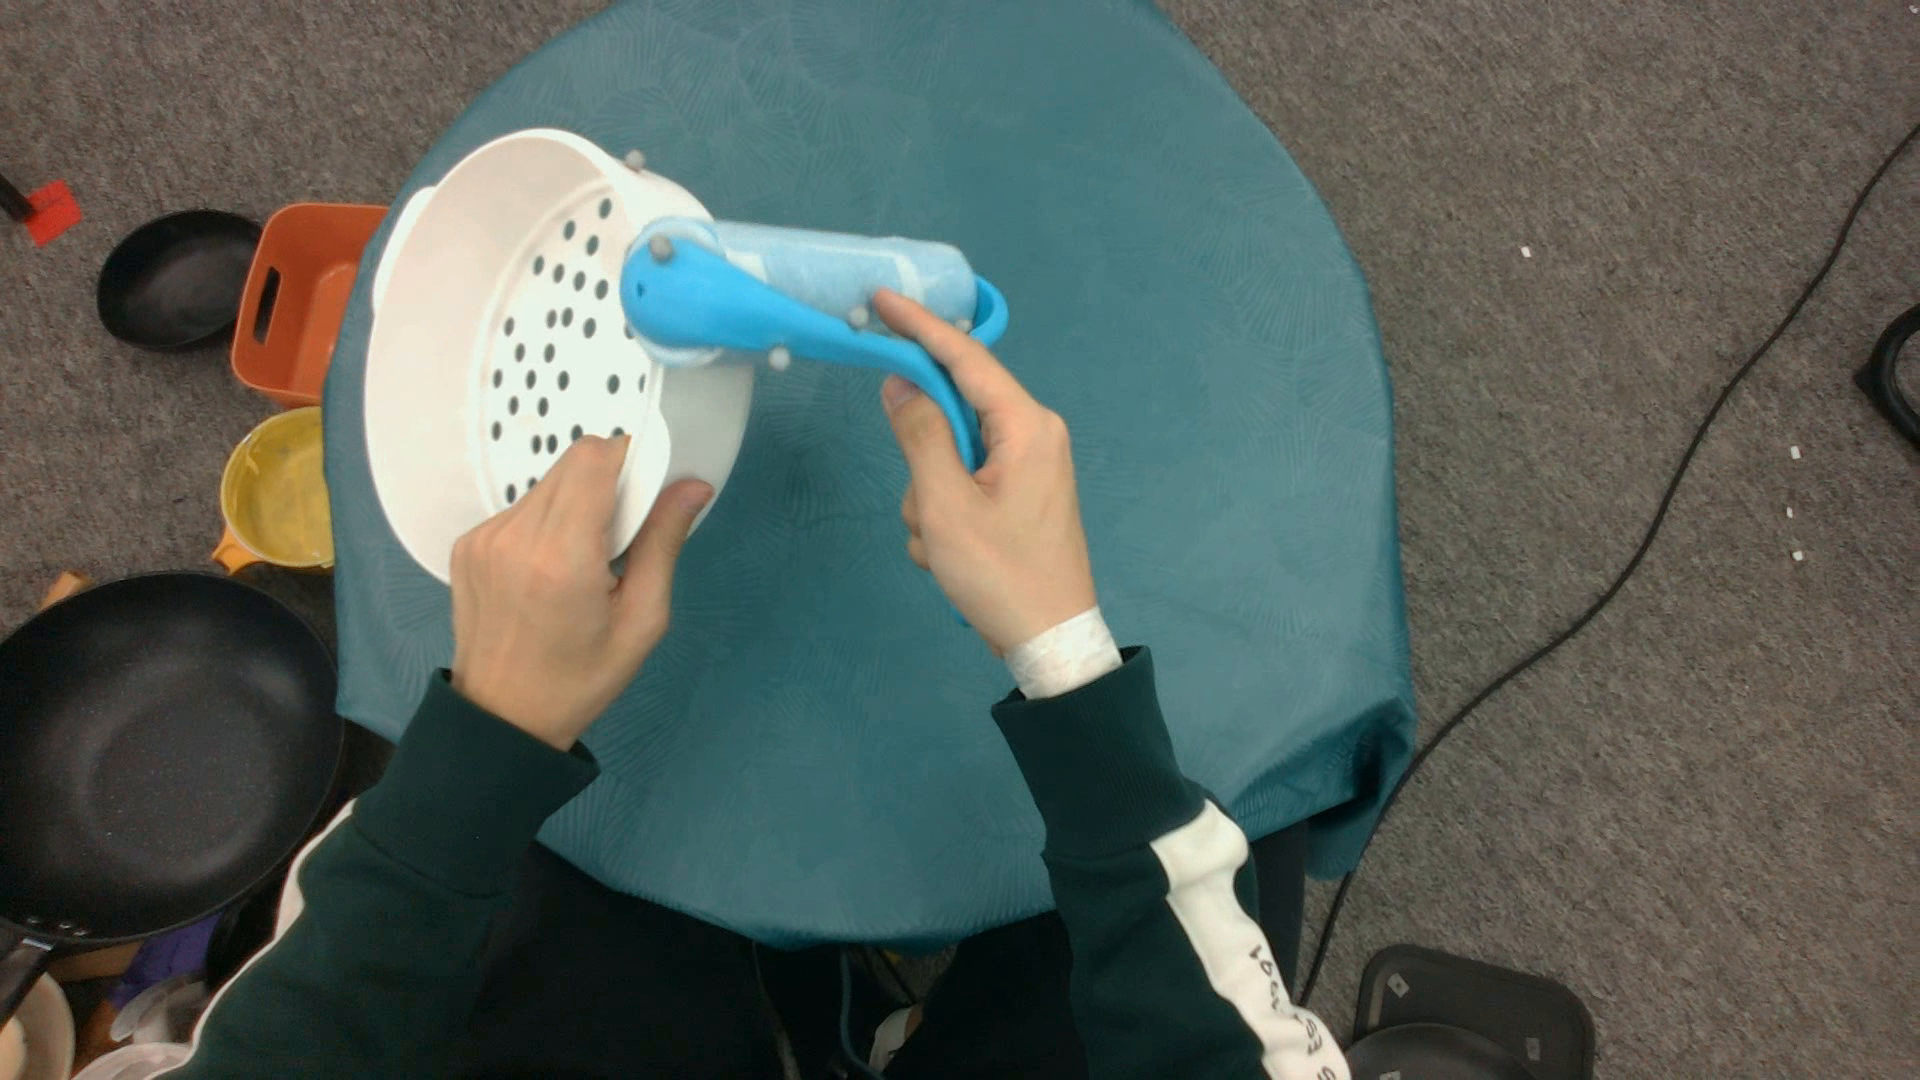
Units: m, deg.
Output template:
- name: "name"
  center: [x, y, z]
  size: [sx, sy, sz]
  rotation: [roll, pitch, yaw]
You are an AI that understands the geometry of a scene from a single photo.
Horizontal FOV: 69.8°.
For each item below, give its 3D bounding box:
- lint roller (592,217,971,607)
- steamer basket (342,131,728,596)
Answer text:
- name: "lint roller"
  center: [-0.037, -0.062, 0.581]
  size: [0.067, 0.230, 0.180]
  rotation: [-39, 86, 25]
- name: "steamer basket"
  center: [-0.192, -0.076, 0.621]
  size: [0.231, 0.069, 0.201]
  rotation: [39, 110, 28]
